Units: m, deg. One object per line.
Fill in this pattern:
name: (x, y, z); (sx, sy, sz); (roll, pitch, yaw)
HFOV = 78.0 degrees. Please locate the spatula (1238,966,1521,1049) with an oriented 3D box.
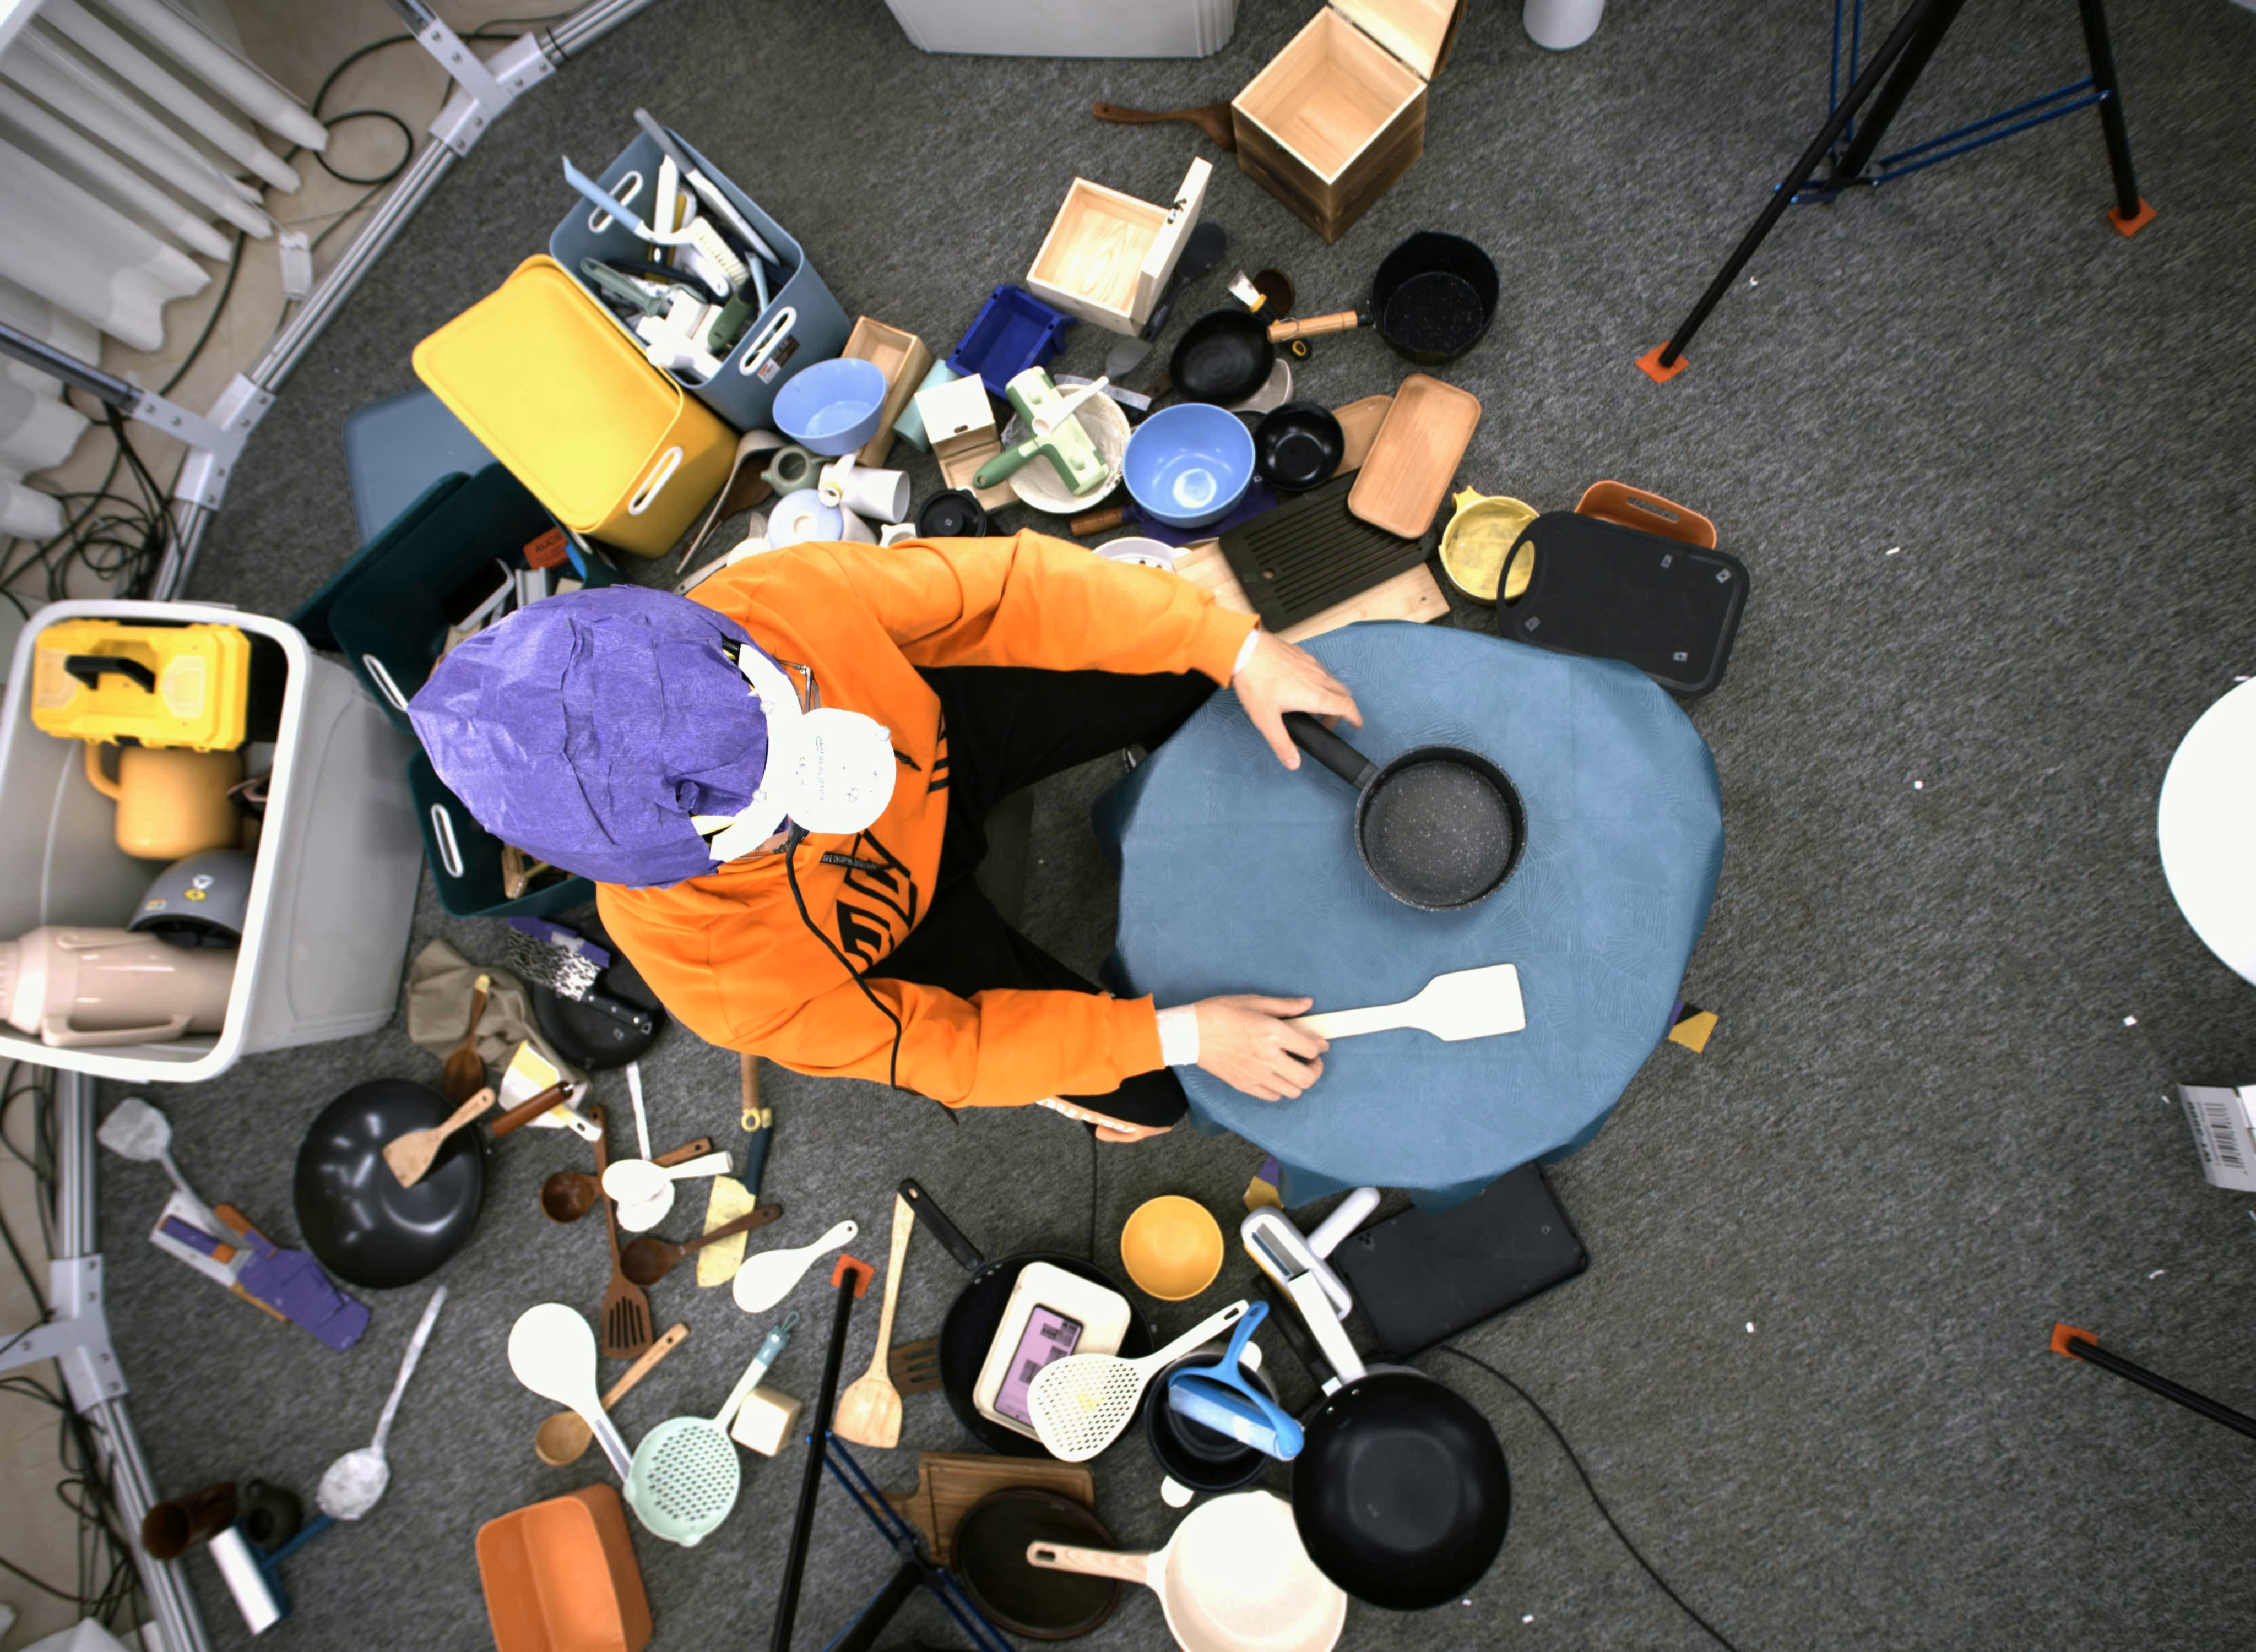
spatula: (0.261, 0.201, 1.450); (0.294, 0.010, 0.072); (-10, 88, 10)

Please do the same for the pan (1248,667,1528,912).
pan: (0.258, -0.046, 1.426); (0.328, 0.086, 0.172); (40, 93, 9)
